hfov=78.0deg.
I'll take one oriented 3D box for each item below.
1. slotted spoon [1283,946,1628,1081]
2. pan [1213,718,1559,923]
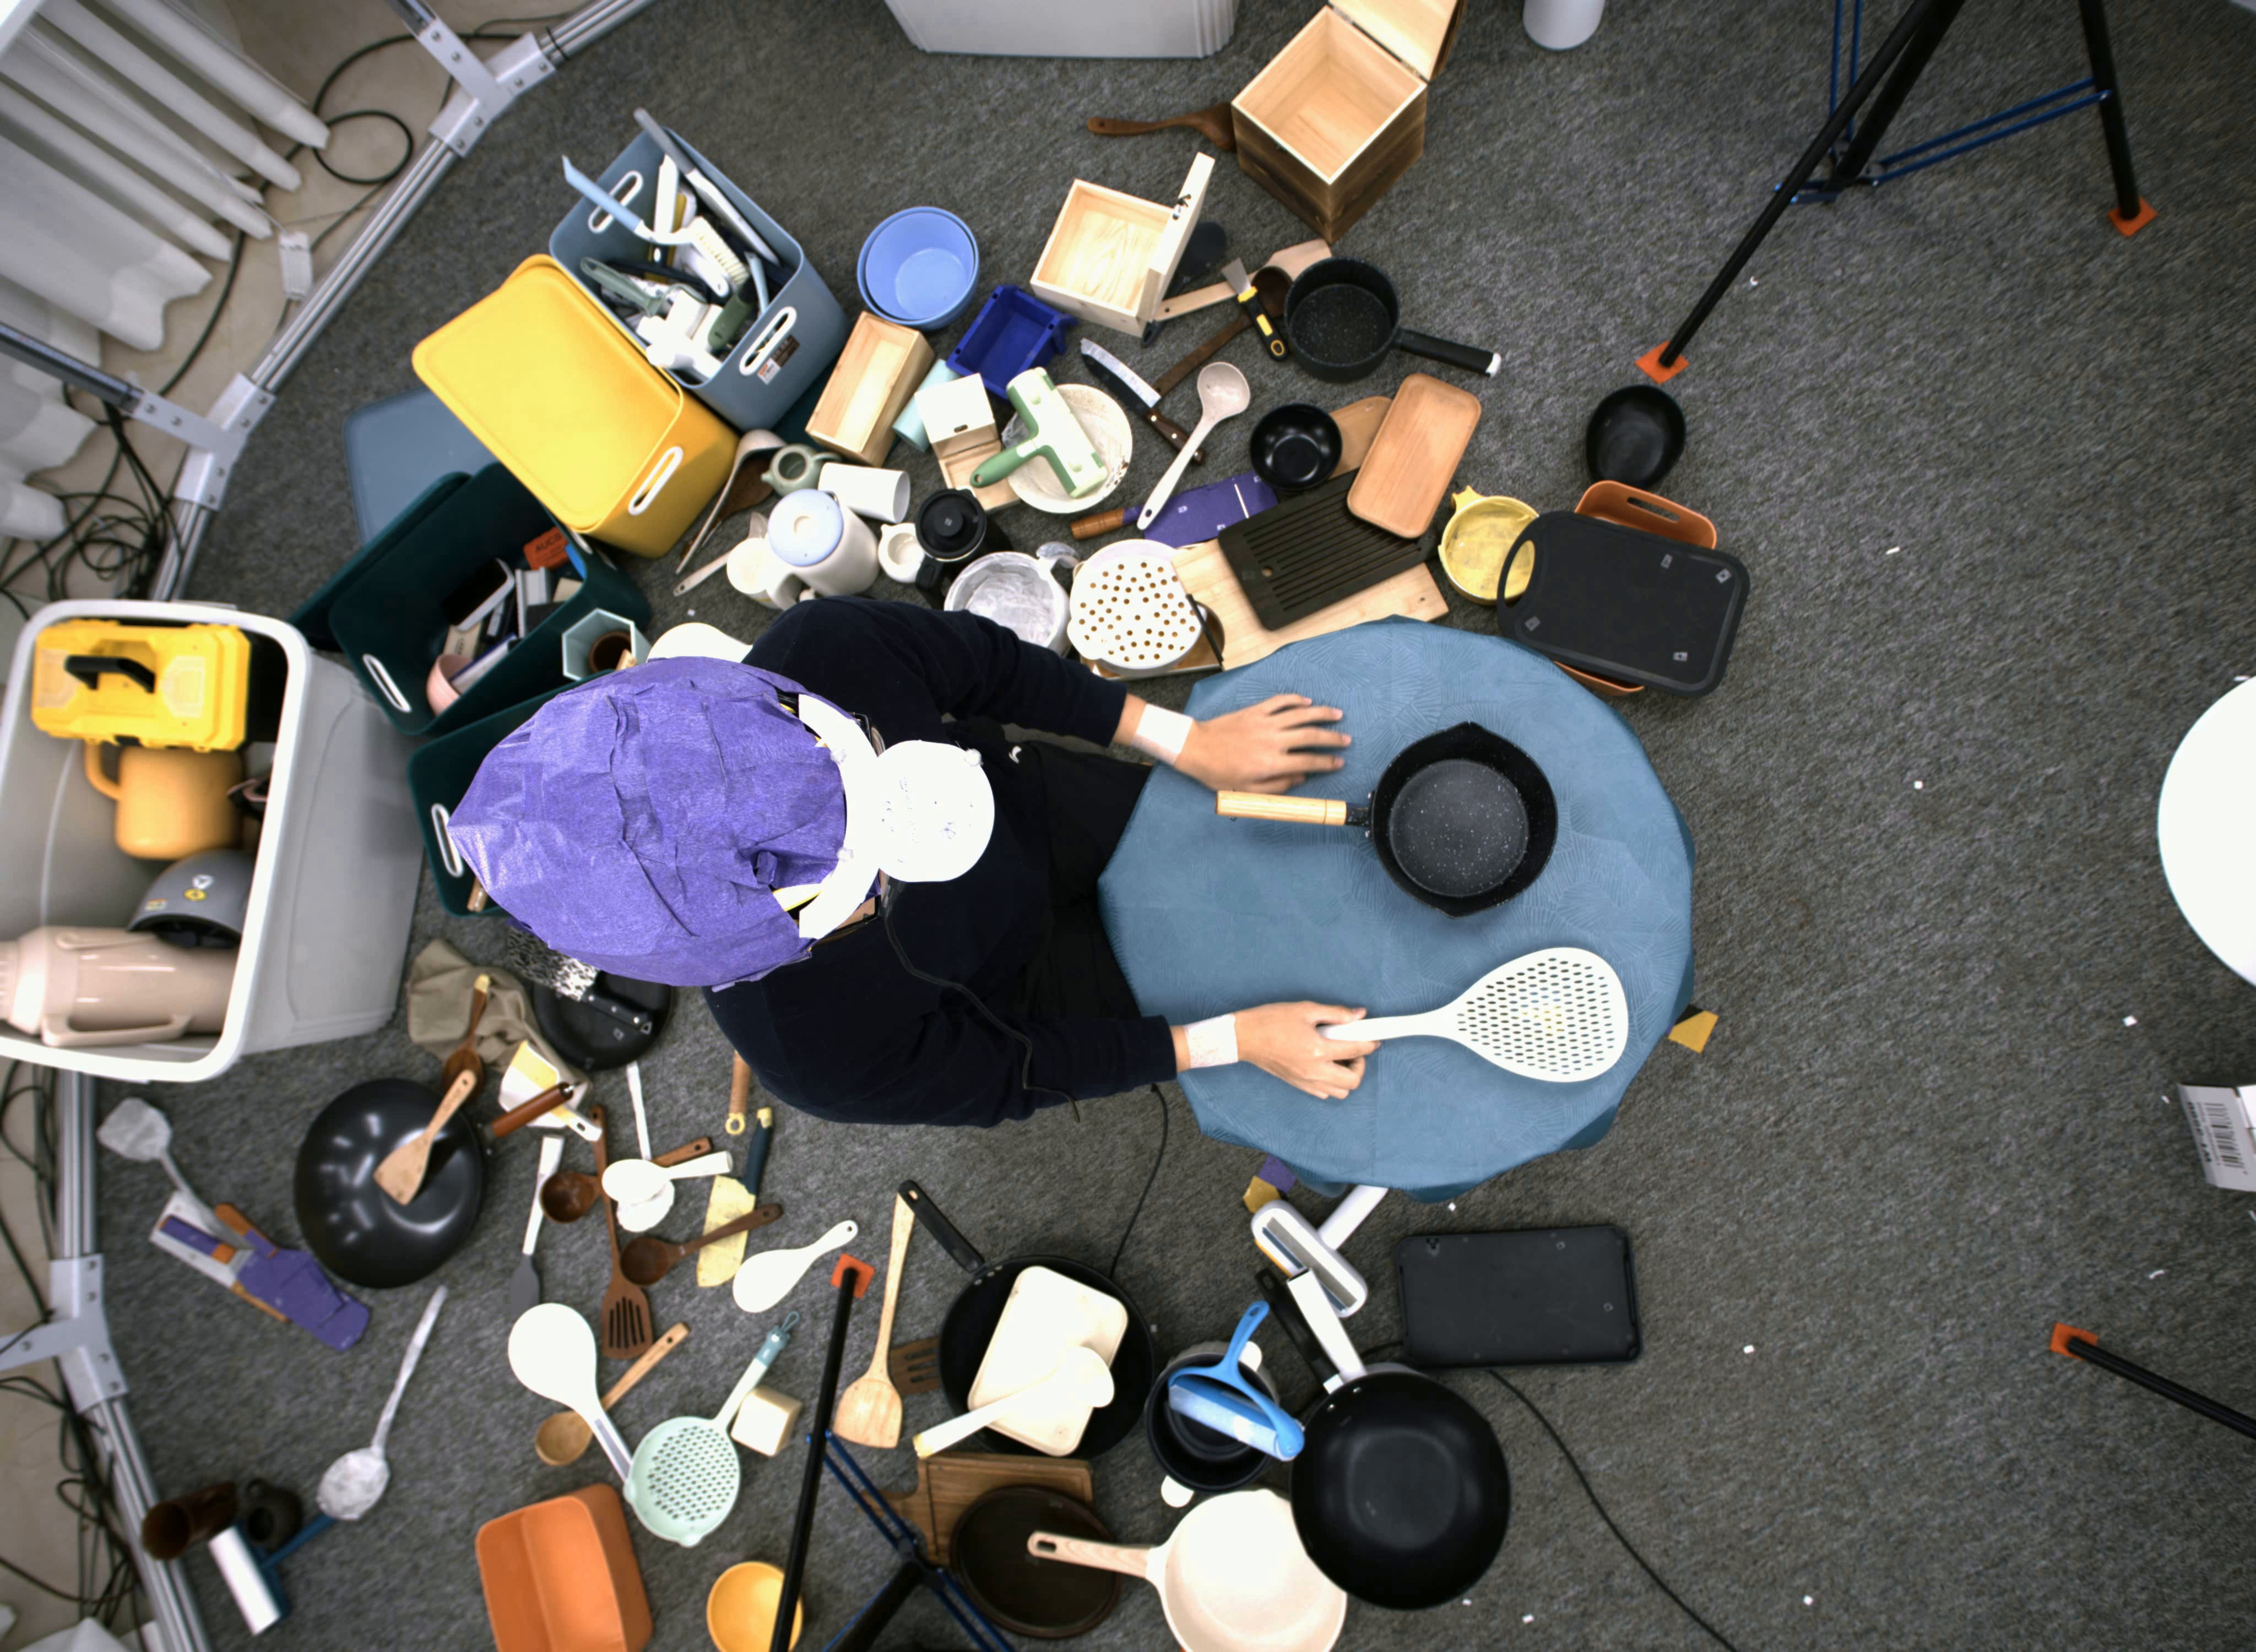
[{"bbox_3d":[0.331,0.204,1.419,0.349,0.051,0.135,-7,76,9],"label":"slotted spoon"},{"bbox_3d":[0.261,-0.008,1.411,0.344,0.108,0.207,3,88,9],"label":"pan"}]
